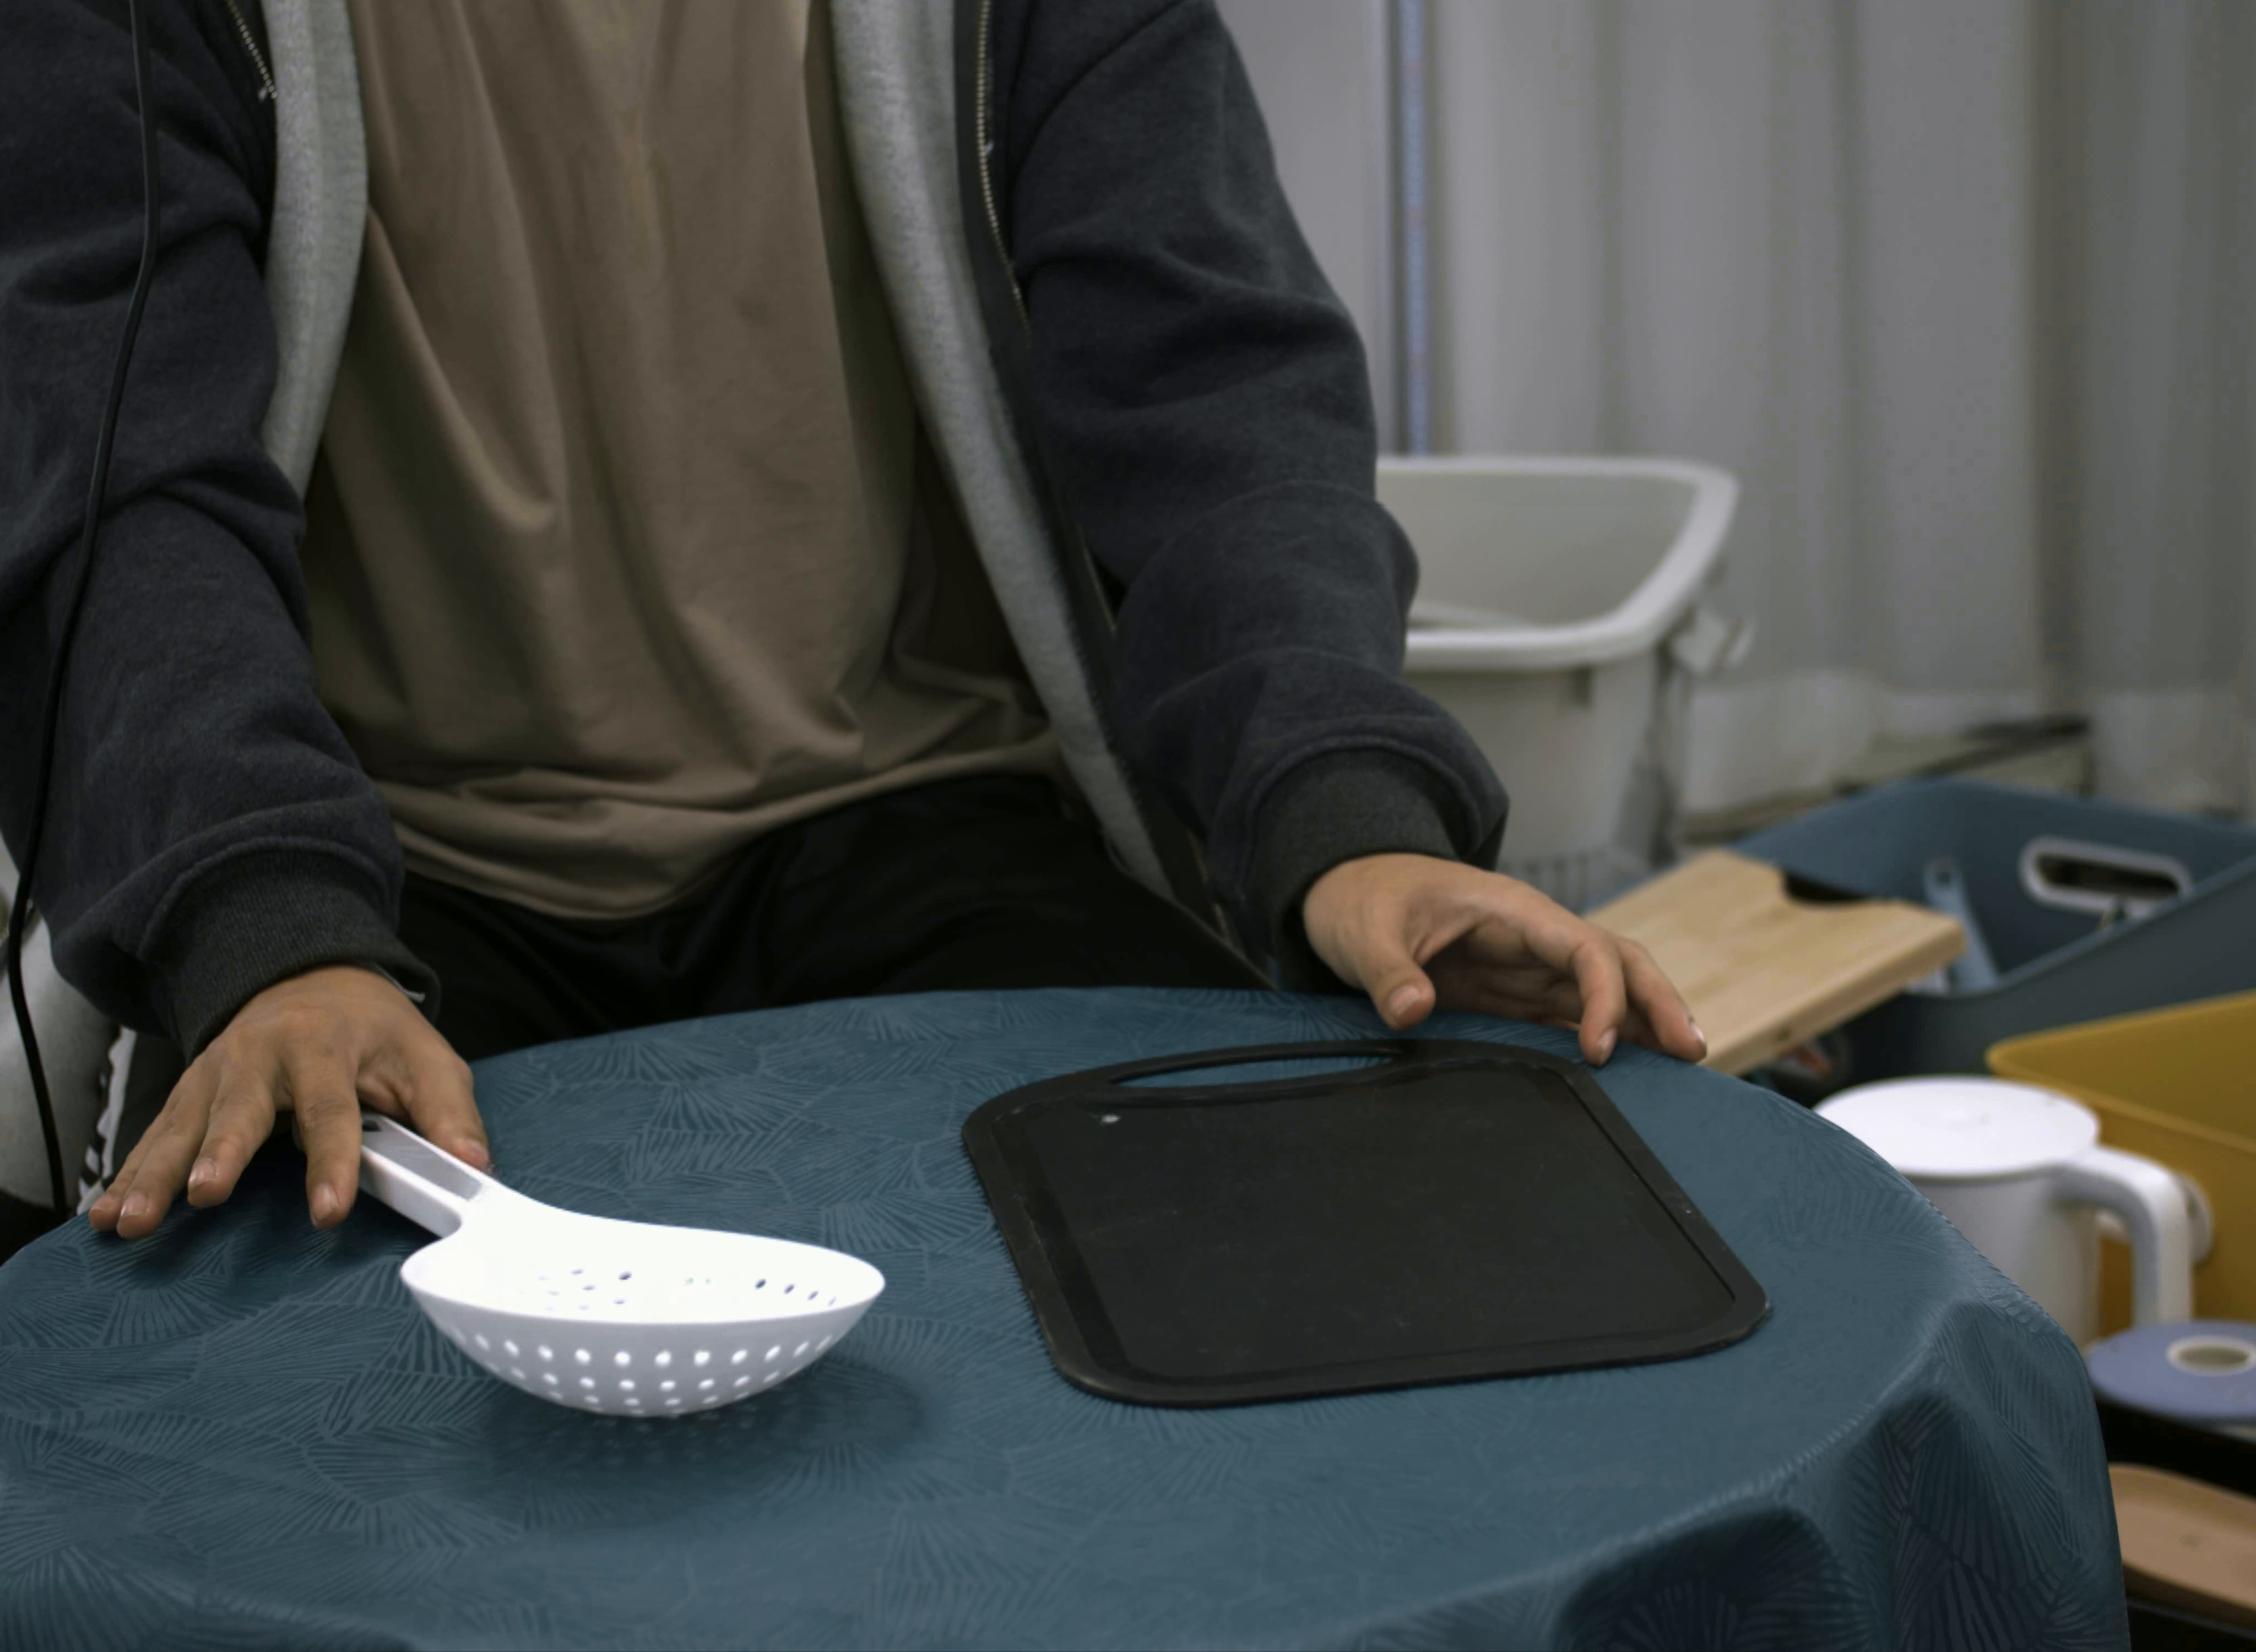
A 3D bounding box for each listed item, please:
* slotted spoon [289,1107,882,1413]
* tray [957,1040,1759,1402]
[{"bbox_3d":[-0.186,0.120,1.640,0.135,0.045,0.352,2,10,-27],"label":"slotted spoon"},{"bbox_3d":[0.062,0.115,1.691,0.210,0.010,0.328,-5,15,-7],"label":"tray"}]
